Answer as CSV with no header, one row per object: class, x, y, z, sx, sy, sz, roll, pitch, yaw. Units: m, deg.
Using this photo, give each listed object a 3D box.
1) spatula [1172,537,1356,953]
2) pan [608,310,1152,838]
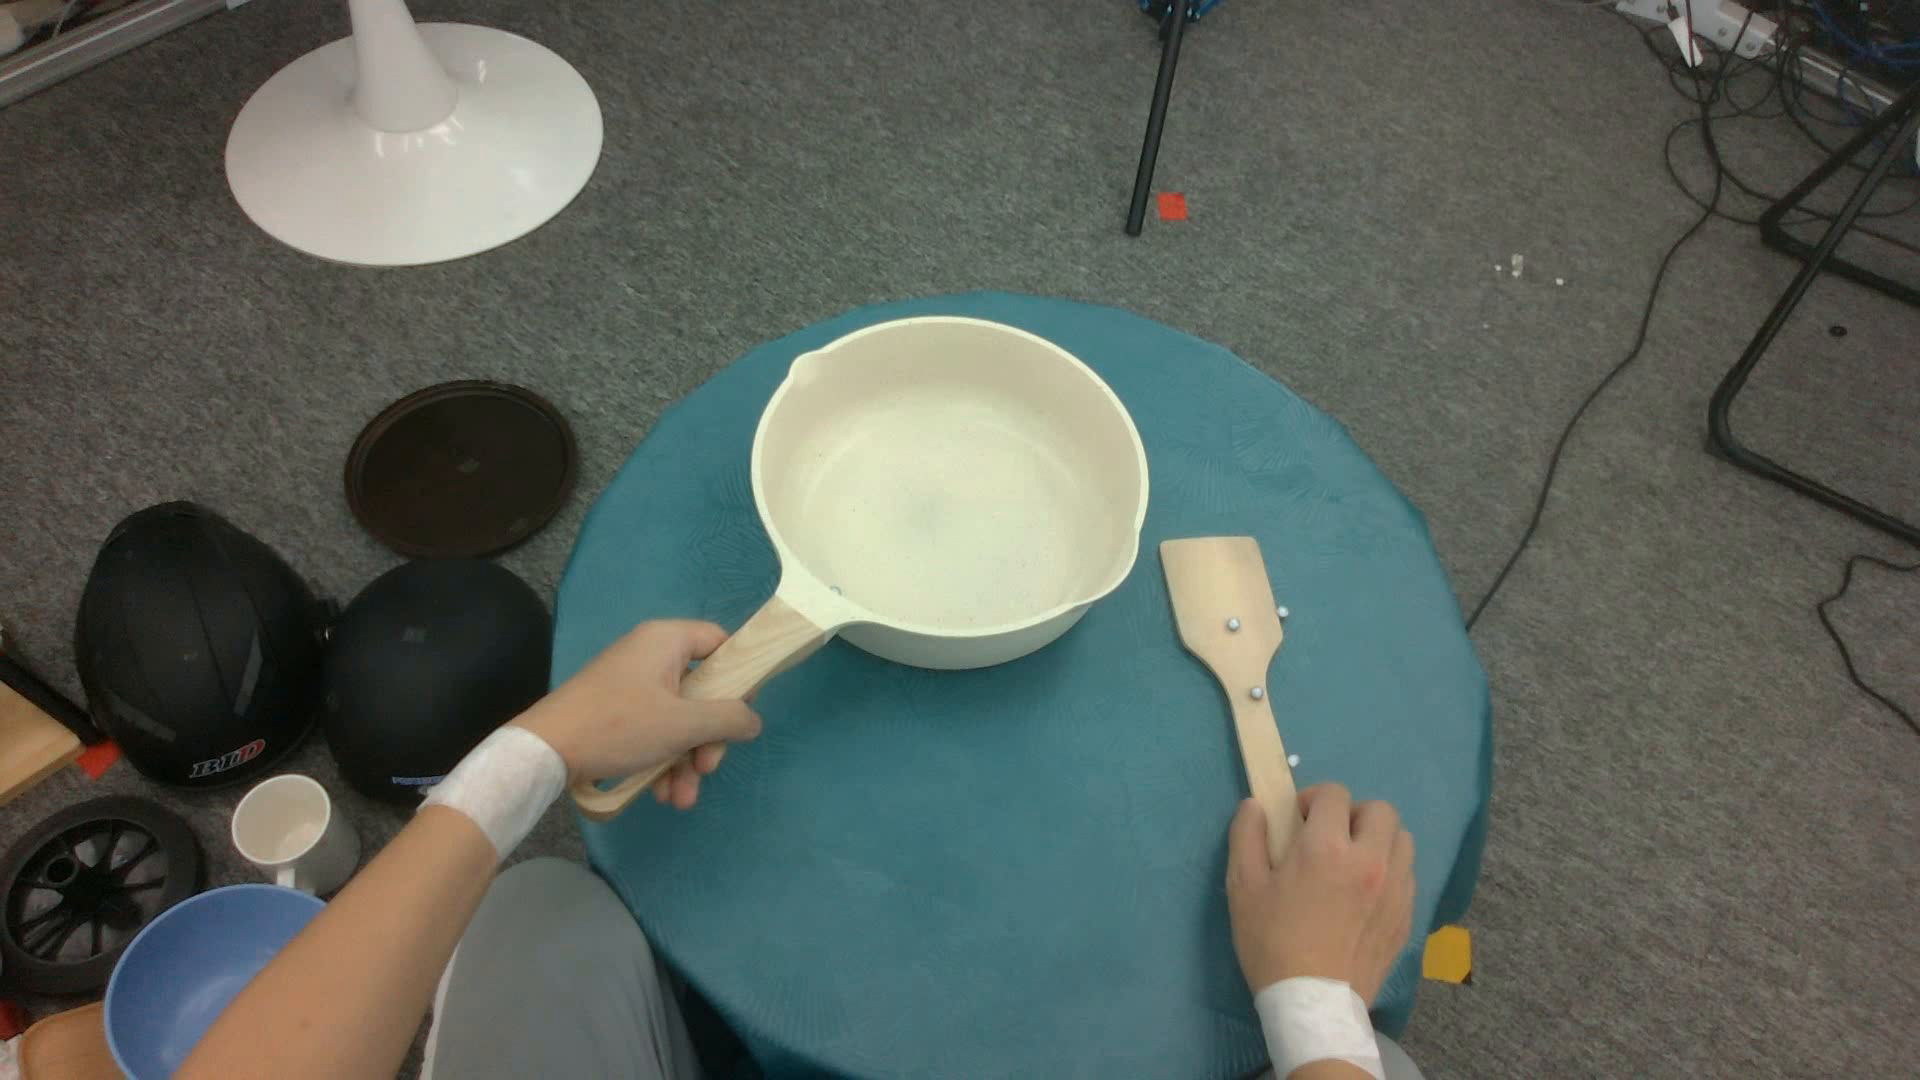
spatula,0.197,0.117,0.866,0.072,0.010,0.294,-4,53,-6
pan,-0.057,0.027,0.861,0.263,0.101,0.437,33,61,15
